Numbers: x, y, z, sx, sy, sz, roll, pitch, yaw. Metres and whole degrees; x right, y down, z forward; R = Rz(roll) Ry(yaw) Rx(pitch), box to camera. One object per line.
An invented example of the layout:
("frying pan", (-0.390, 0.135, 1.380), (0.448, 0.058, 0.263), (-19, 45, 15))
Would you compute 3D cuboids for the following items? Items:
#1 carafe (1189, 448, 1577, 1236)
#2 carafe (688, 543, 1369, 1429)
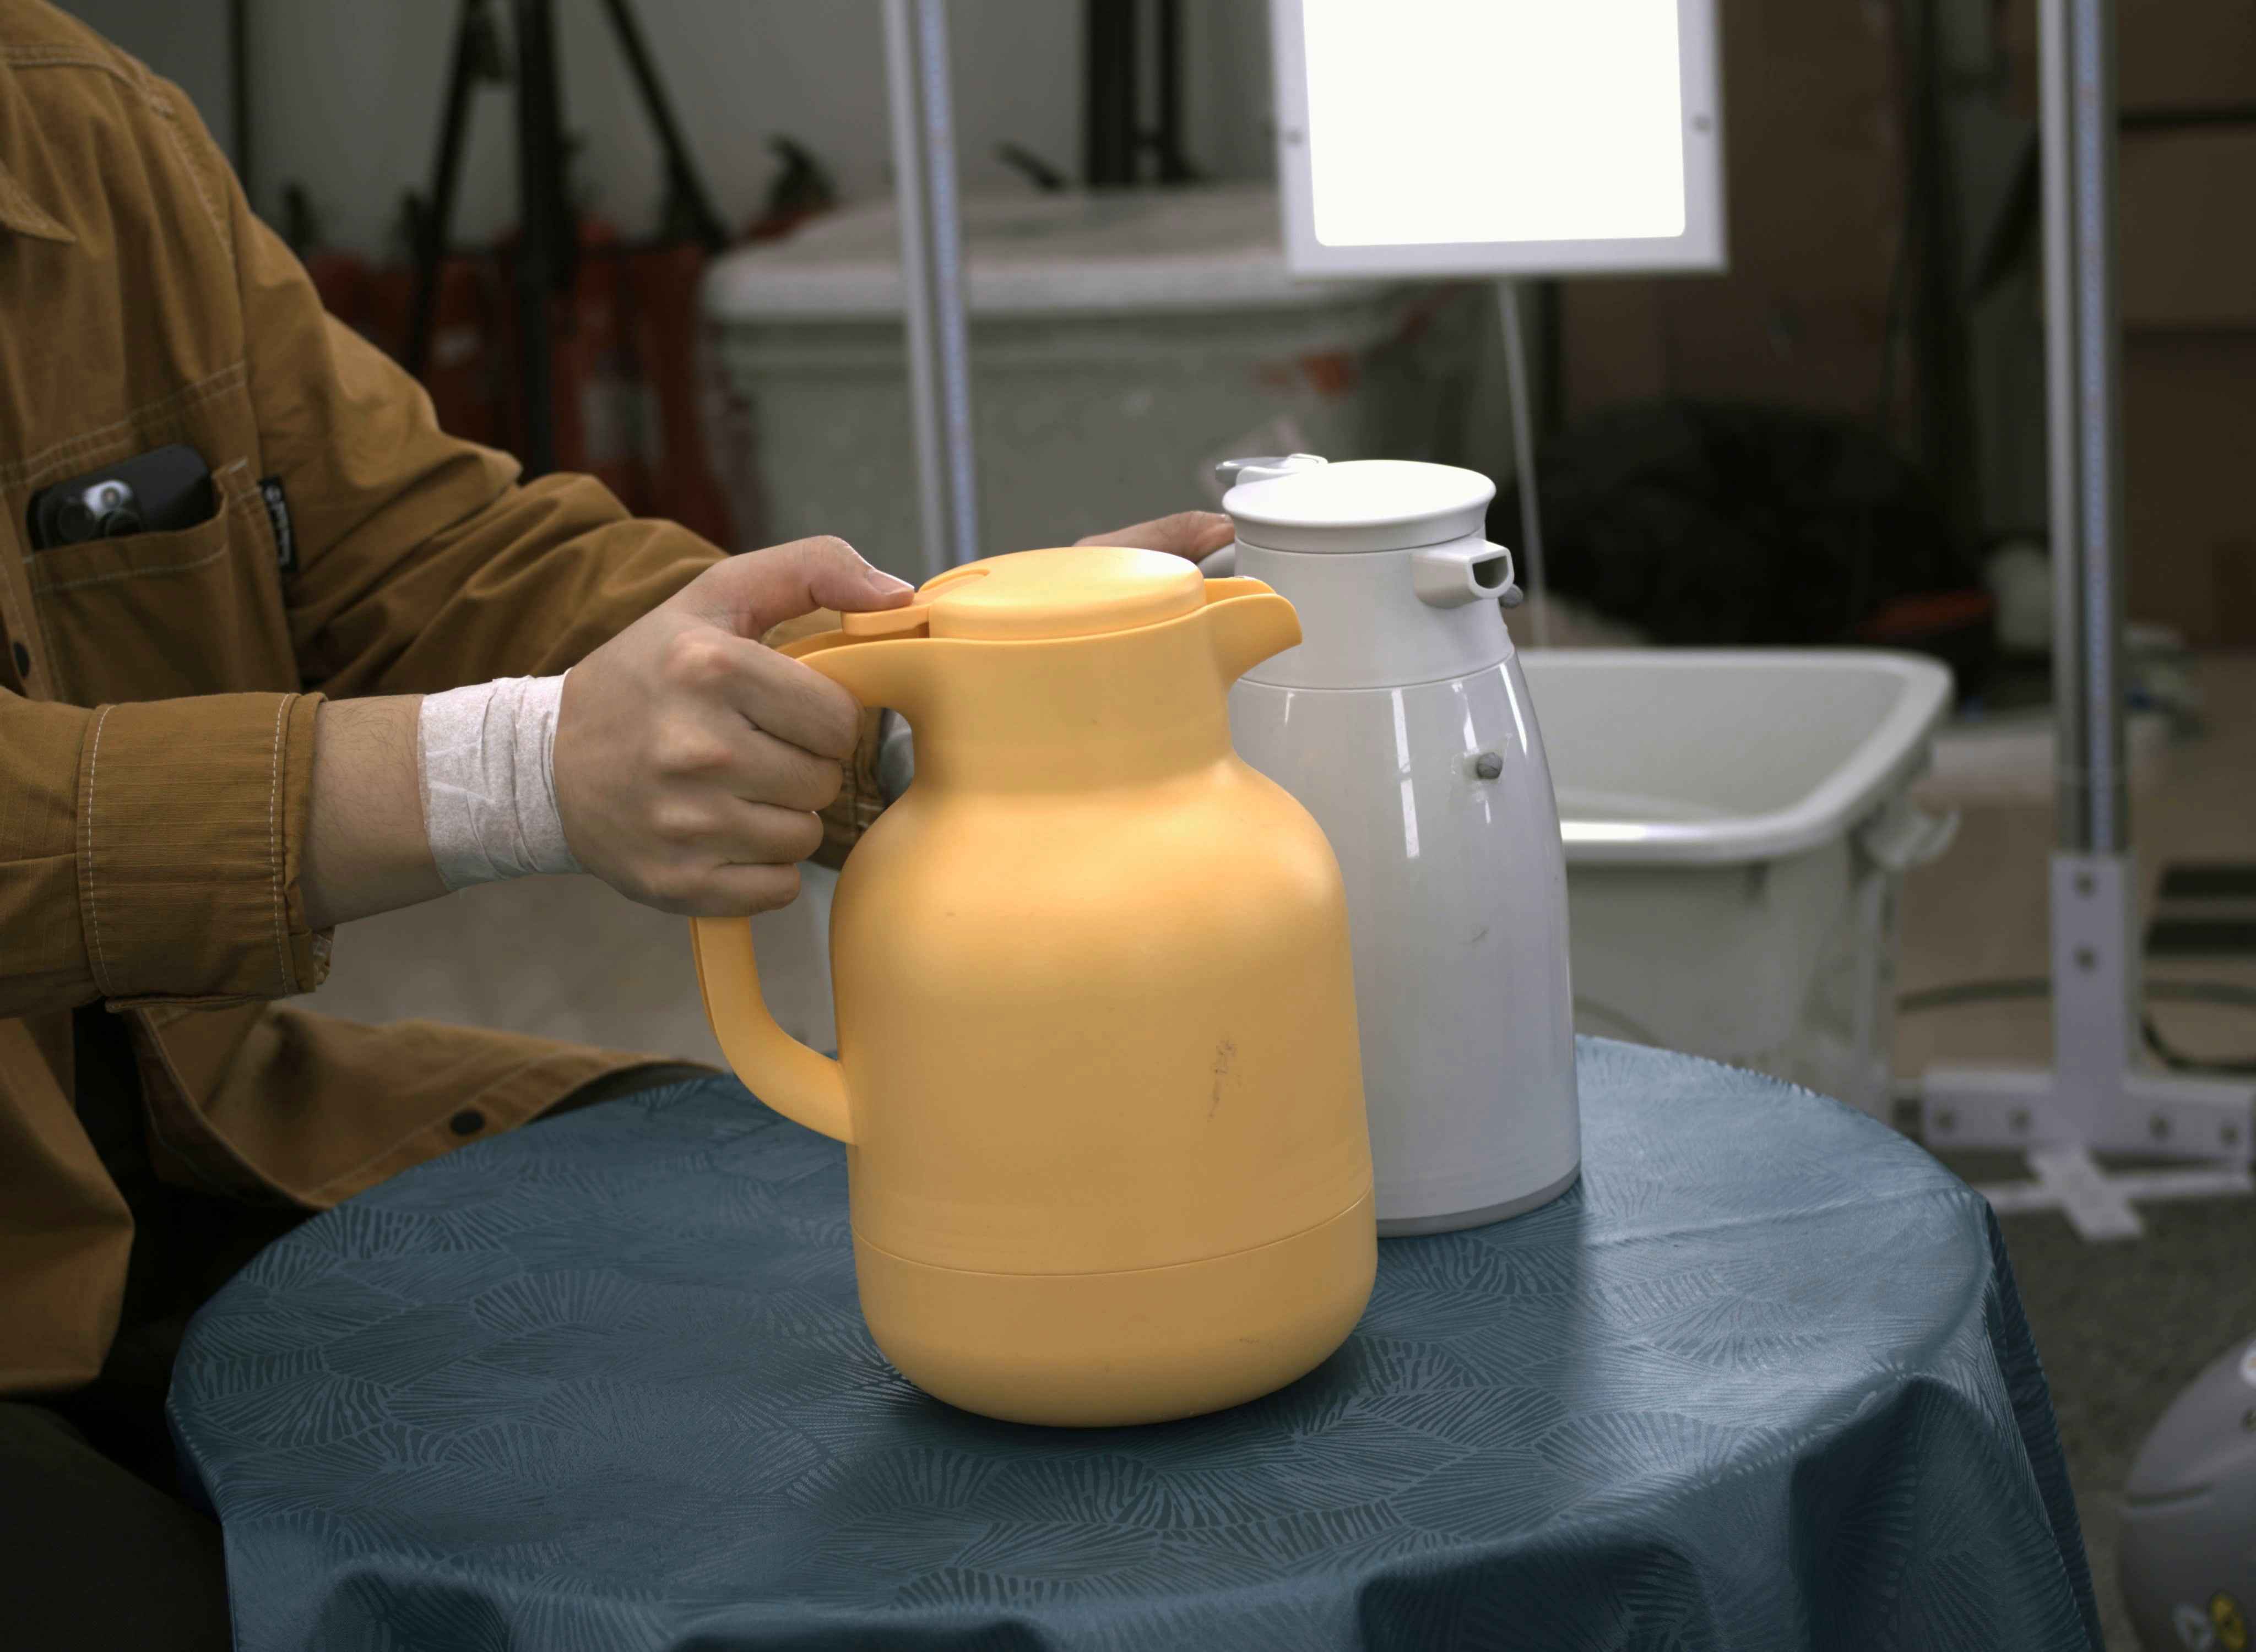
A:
("carafe", (0.069, -0.003, 1.868), (0.129, 0.249, 0.171), (-16, 19, -38))
("carafe", (-0.031, 0.046, 1.690), (0.201, 0.261, 0.164), (-5, 11, -7))
